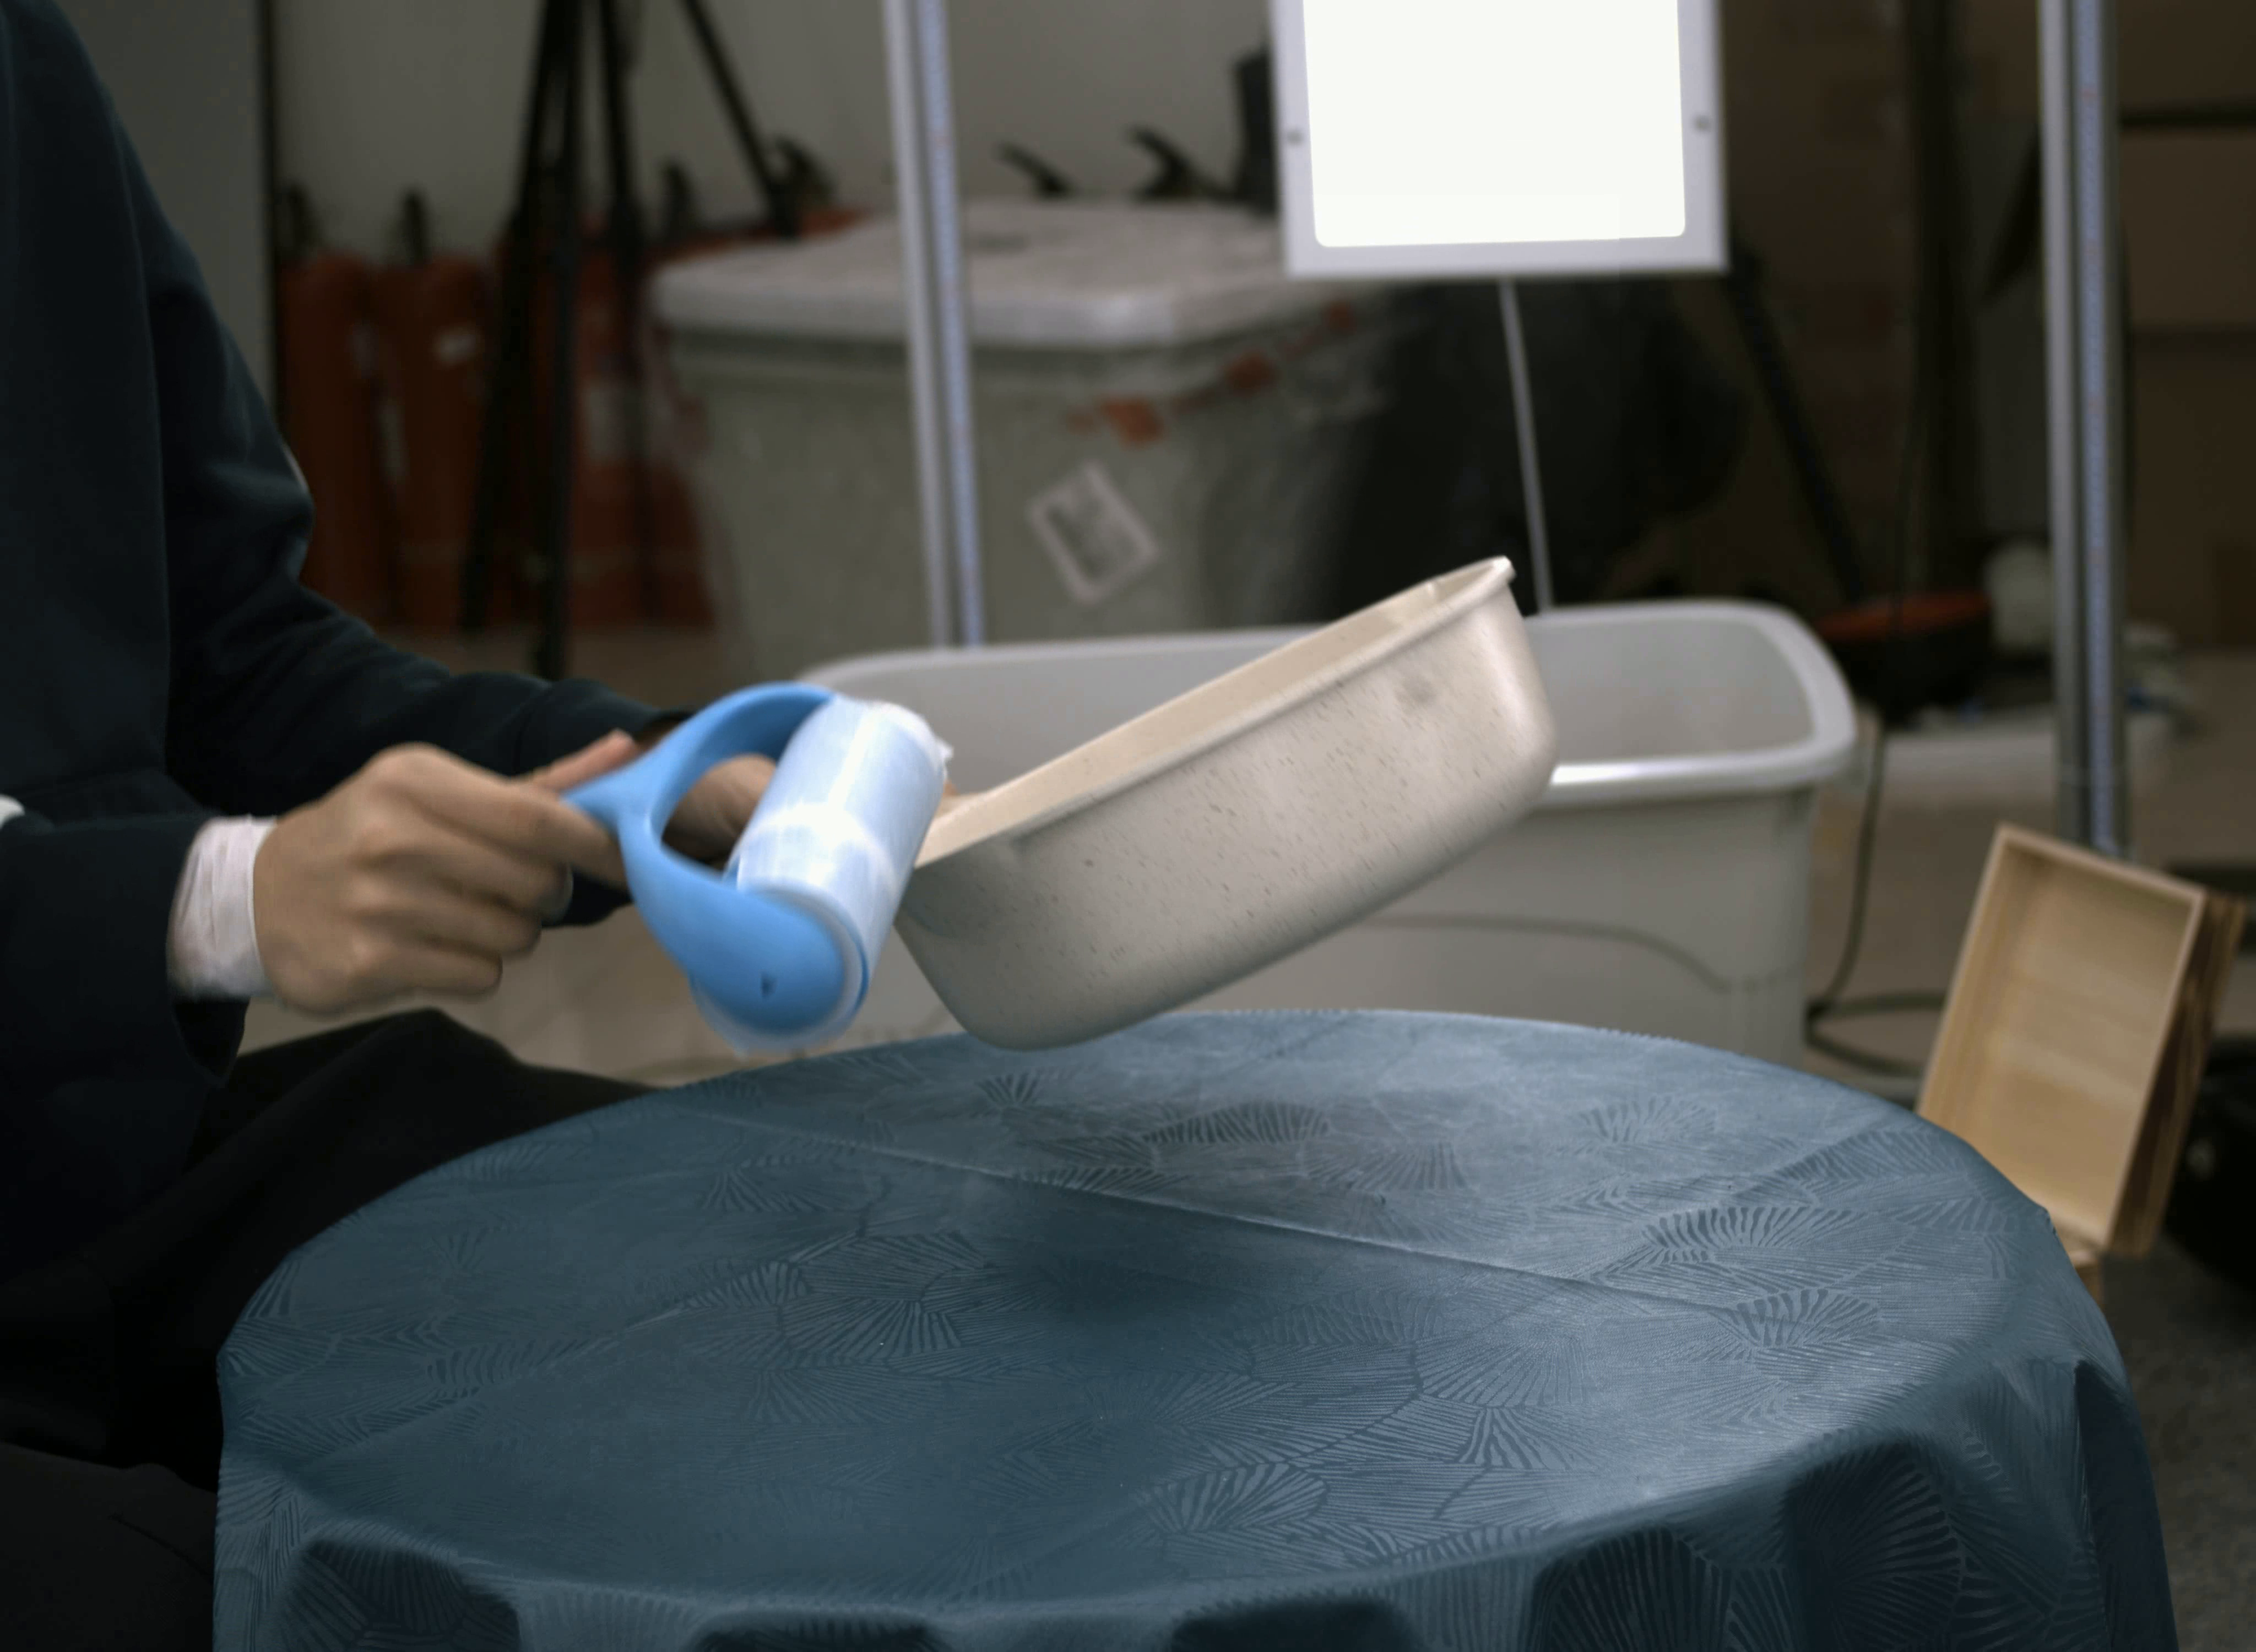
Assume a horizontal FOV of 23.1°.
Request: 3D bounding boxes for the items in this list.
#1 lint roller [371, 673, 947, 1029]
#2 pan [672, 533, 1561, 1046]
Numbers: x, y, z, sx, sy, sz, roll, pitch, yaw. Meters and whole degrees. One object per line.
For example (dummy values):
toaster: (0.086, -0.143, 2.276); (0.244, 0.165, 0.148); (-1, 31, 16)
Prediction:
lint roller: (-0.151, 0.012, 1.703); (0.180, 0.068, 0.228); (-7, 18, 5)
pan: (-0.020, 0.010, 1.964); (0.257, 0.102, 0.444); (-31, 5, -38)
